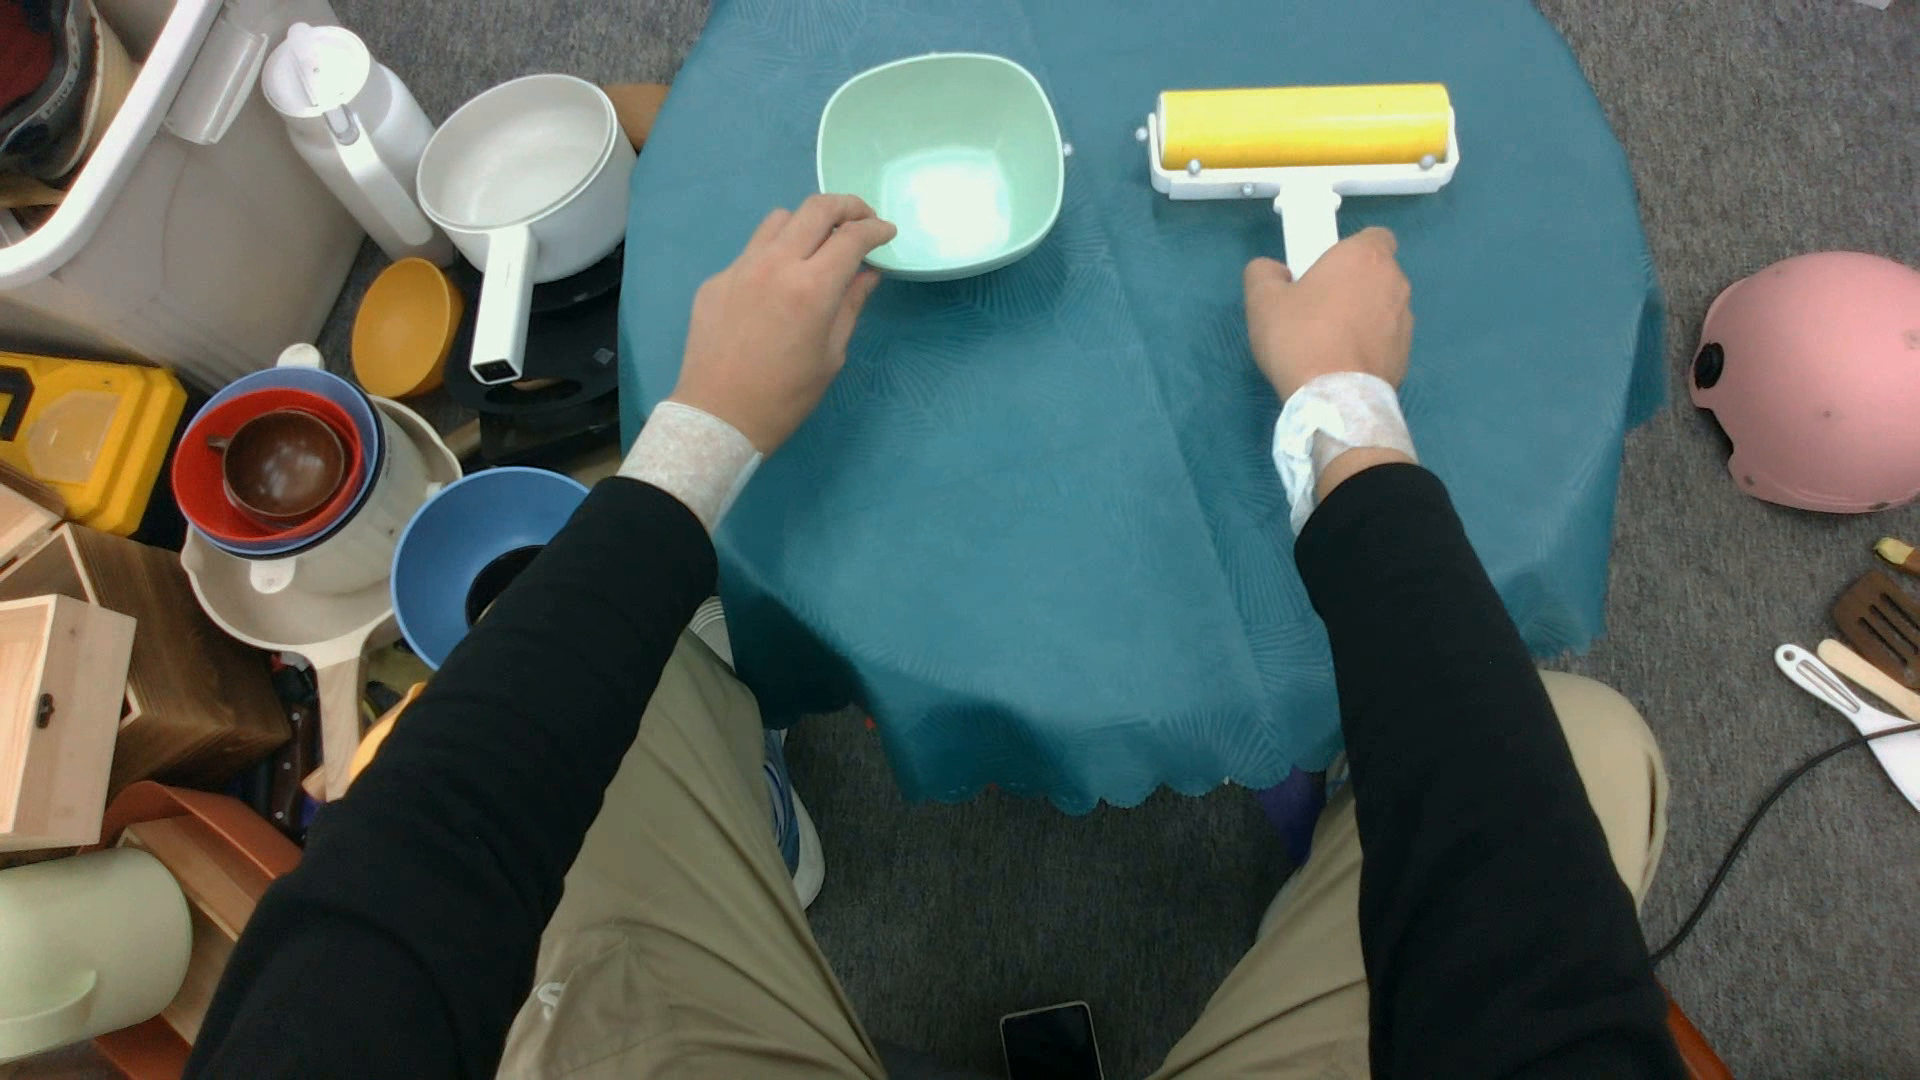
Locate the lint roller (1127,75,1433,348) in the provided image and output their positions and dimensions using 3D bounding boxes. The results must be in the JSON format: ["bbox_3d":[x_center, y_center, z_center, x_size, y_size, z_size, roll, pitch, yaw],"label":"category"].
[{"bbox_3d":[0.187,-0.190,0.766,0.174,0.051,0.193,-2,50,1],"label":"lint roller"}]

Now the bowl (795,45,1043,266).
[{"bbox_3d":[-0.023,-0.212,0.800,0.151,0.058,0.152,0,70,1],"label":"bowl"}]
